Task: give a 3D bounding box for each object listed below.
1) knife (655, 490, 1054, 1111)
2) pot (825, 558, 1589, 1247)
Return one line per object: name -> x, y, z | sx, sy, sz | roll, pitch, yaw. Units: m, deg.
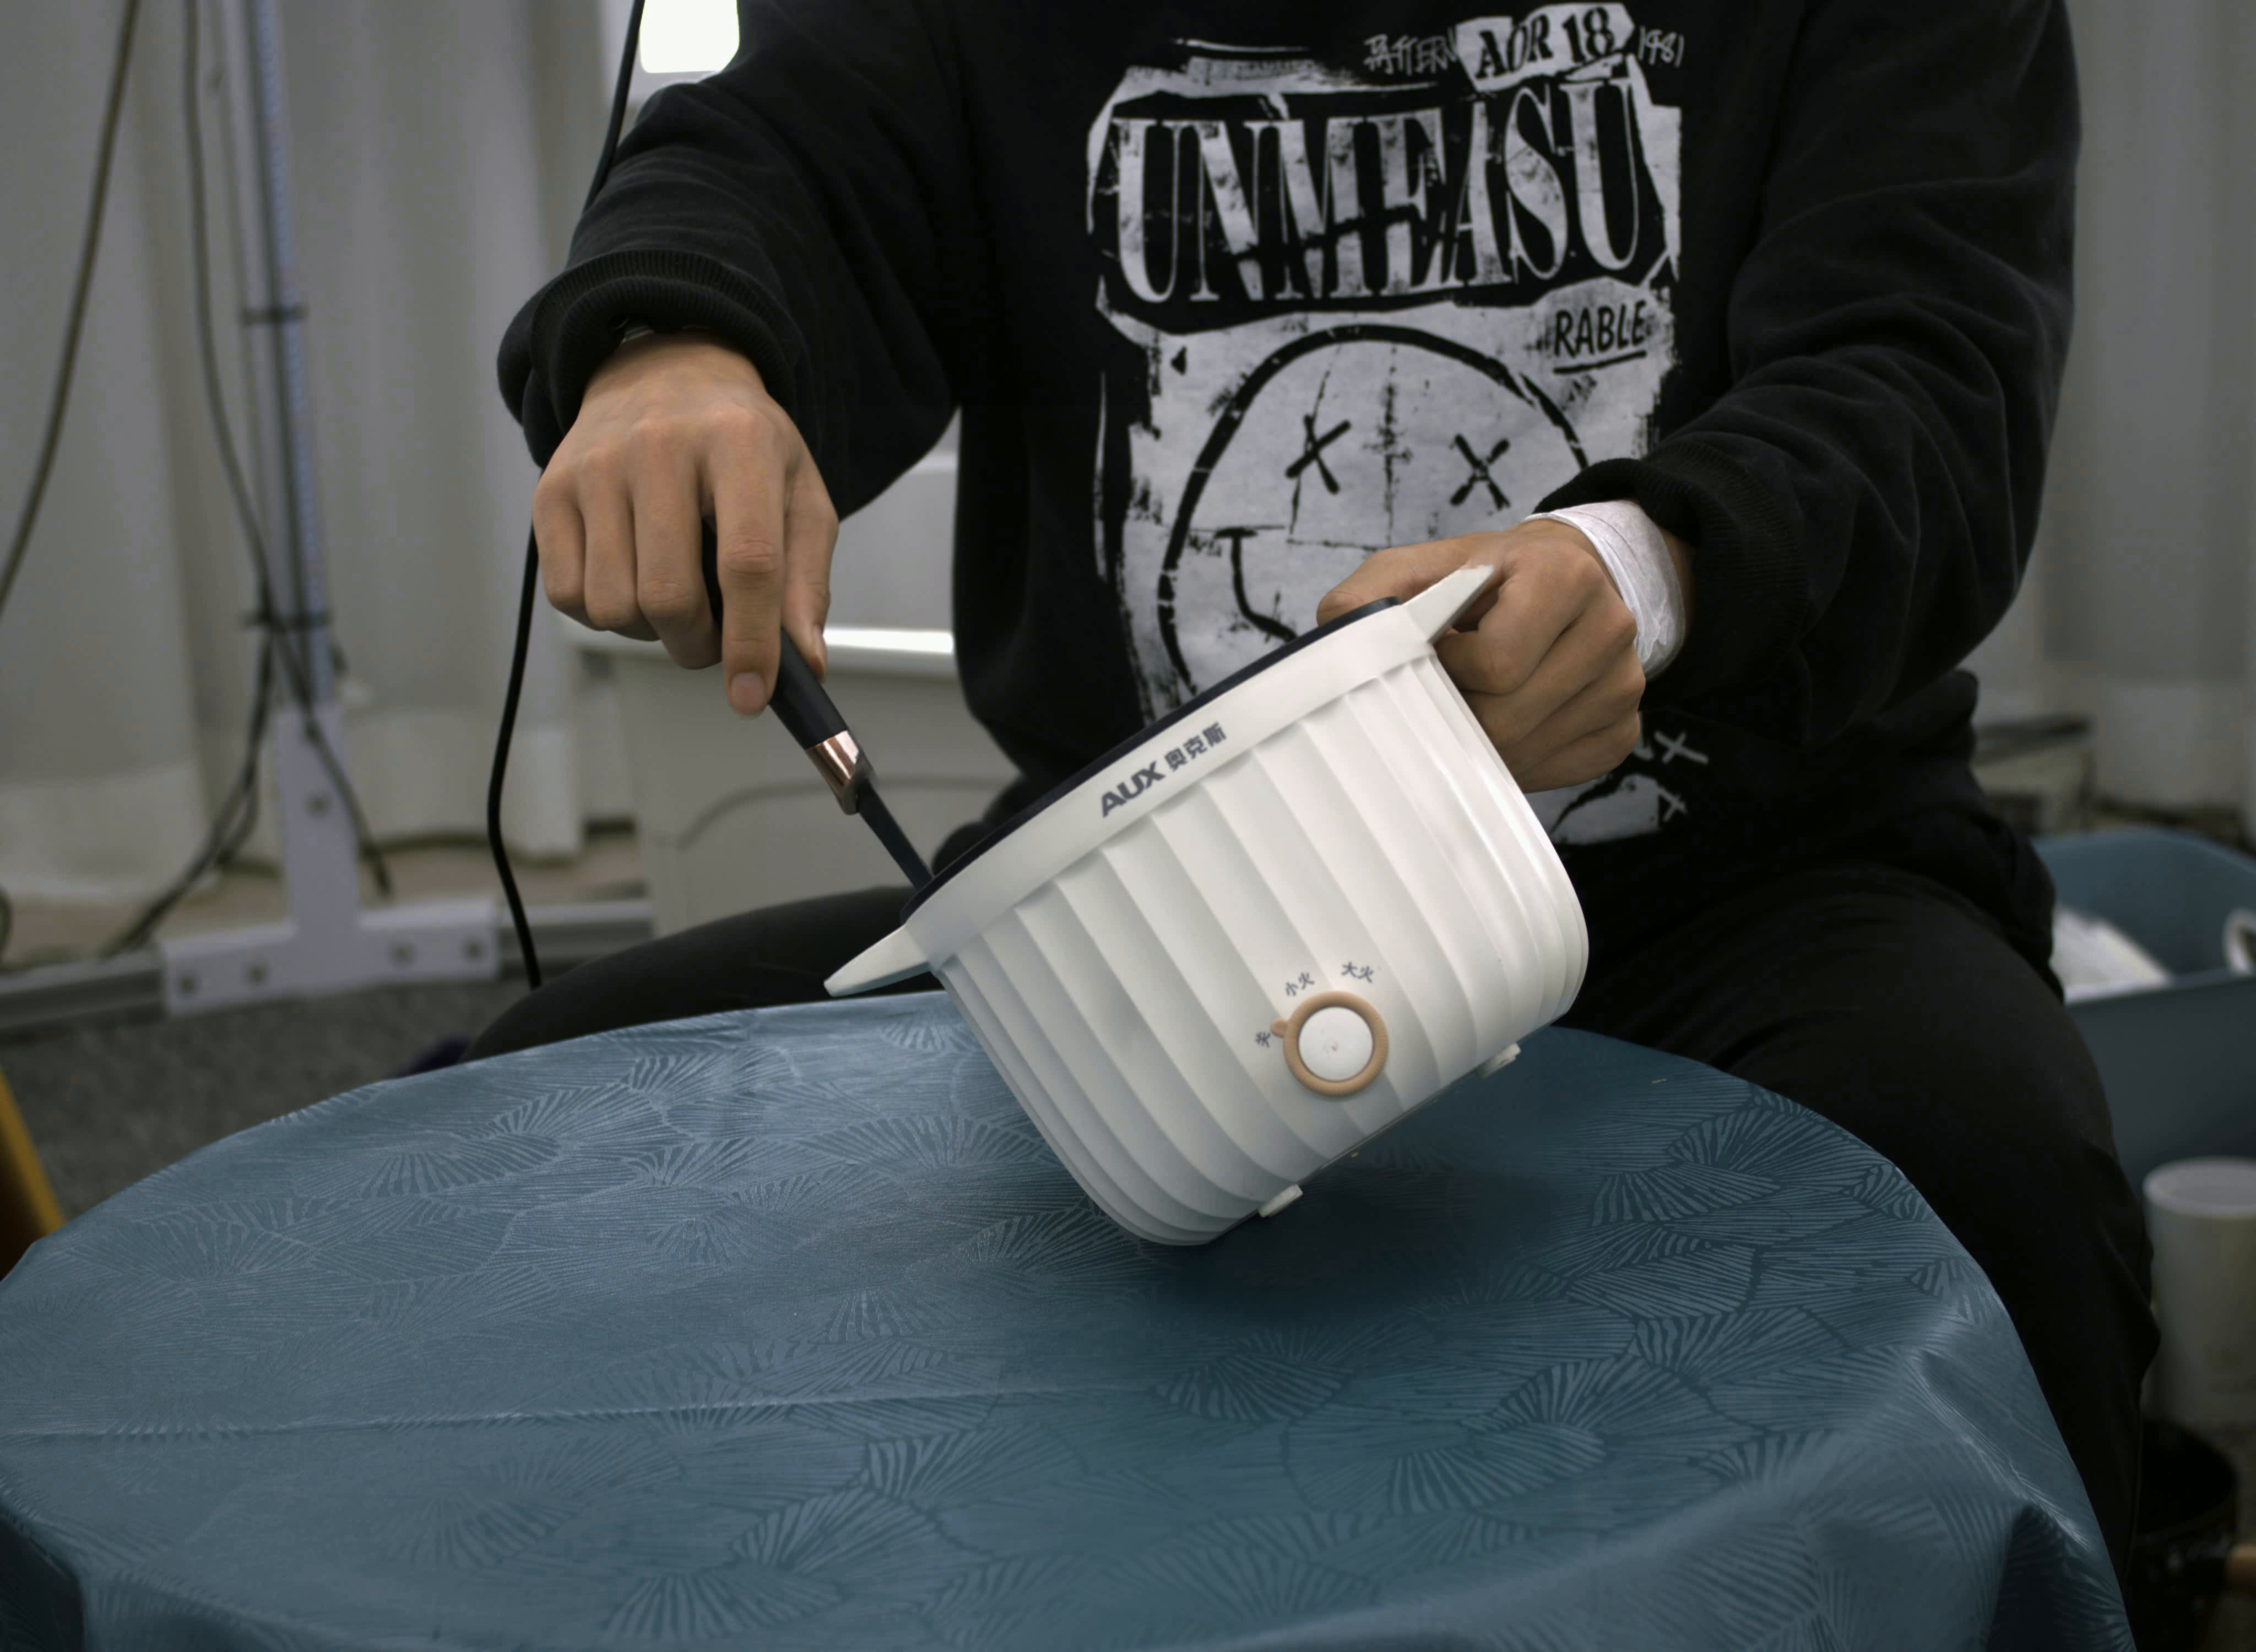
knife -> -0.080, -0.009, 1.648 | 0.017, 0.227, 0.026 | -15, -26, -47
pot -> 0.044, 0.034, 1.642 | 0.240, 0.143, 0.189 | -34, -9, -1
